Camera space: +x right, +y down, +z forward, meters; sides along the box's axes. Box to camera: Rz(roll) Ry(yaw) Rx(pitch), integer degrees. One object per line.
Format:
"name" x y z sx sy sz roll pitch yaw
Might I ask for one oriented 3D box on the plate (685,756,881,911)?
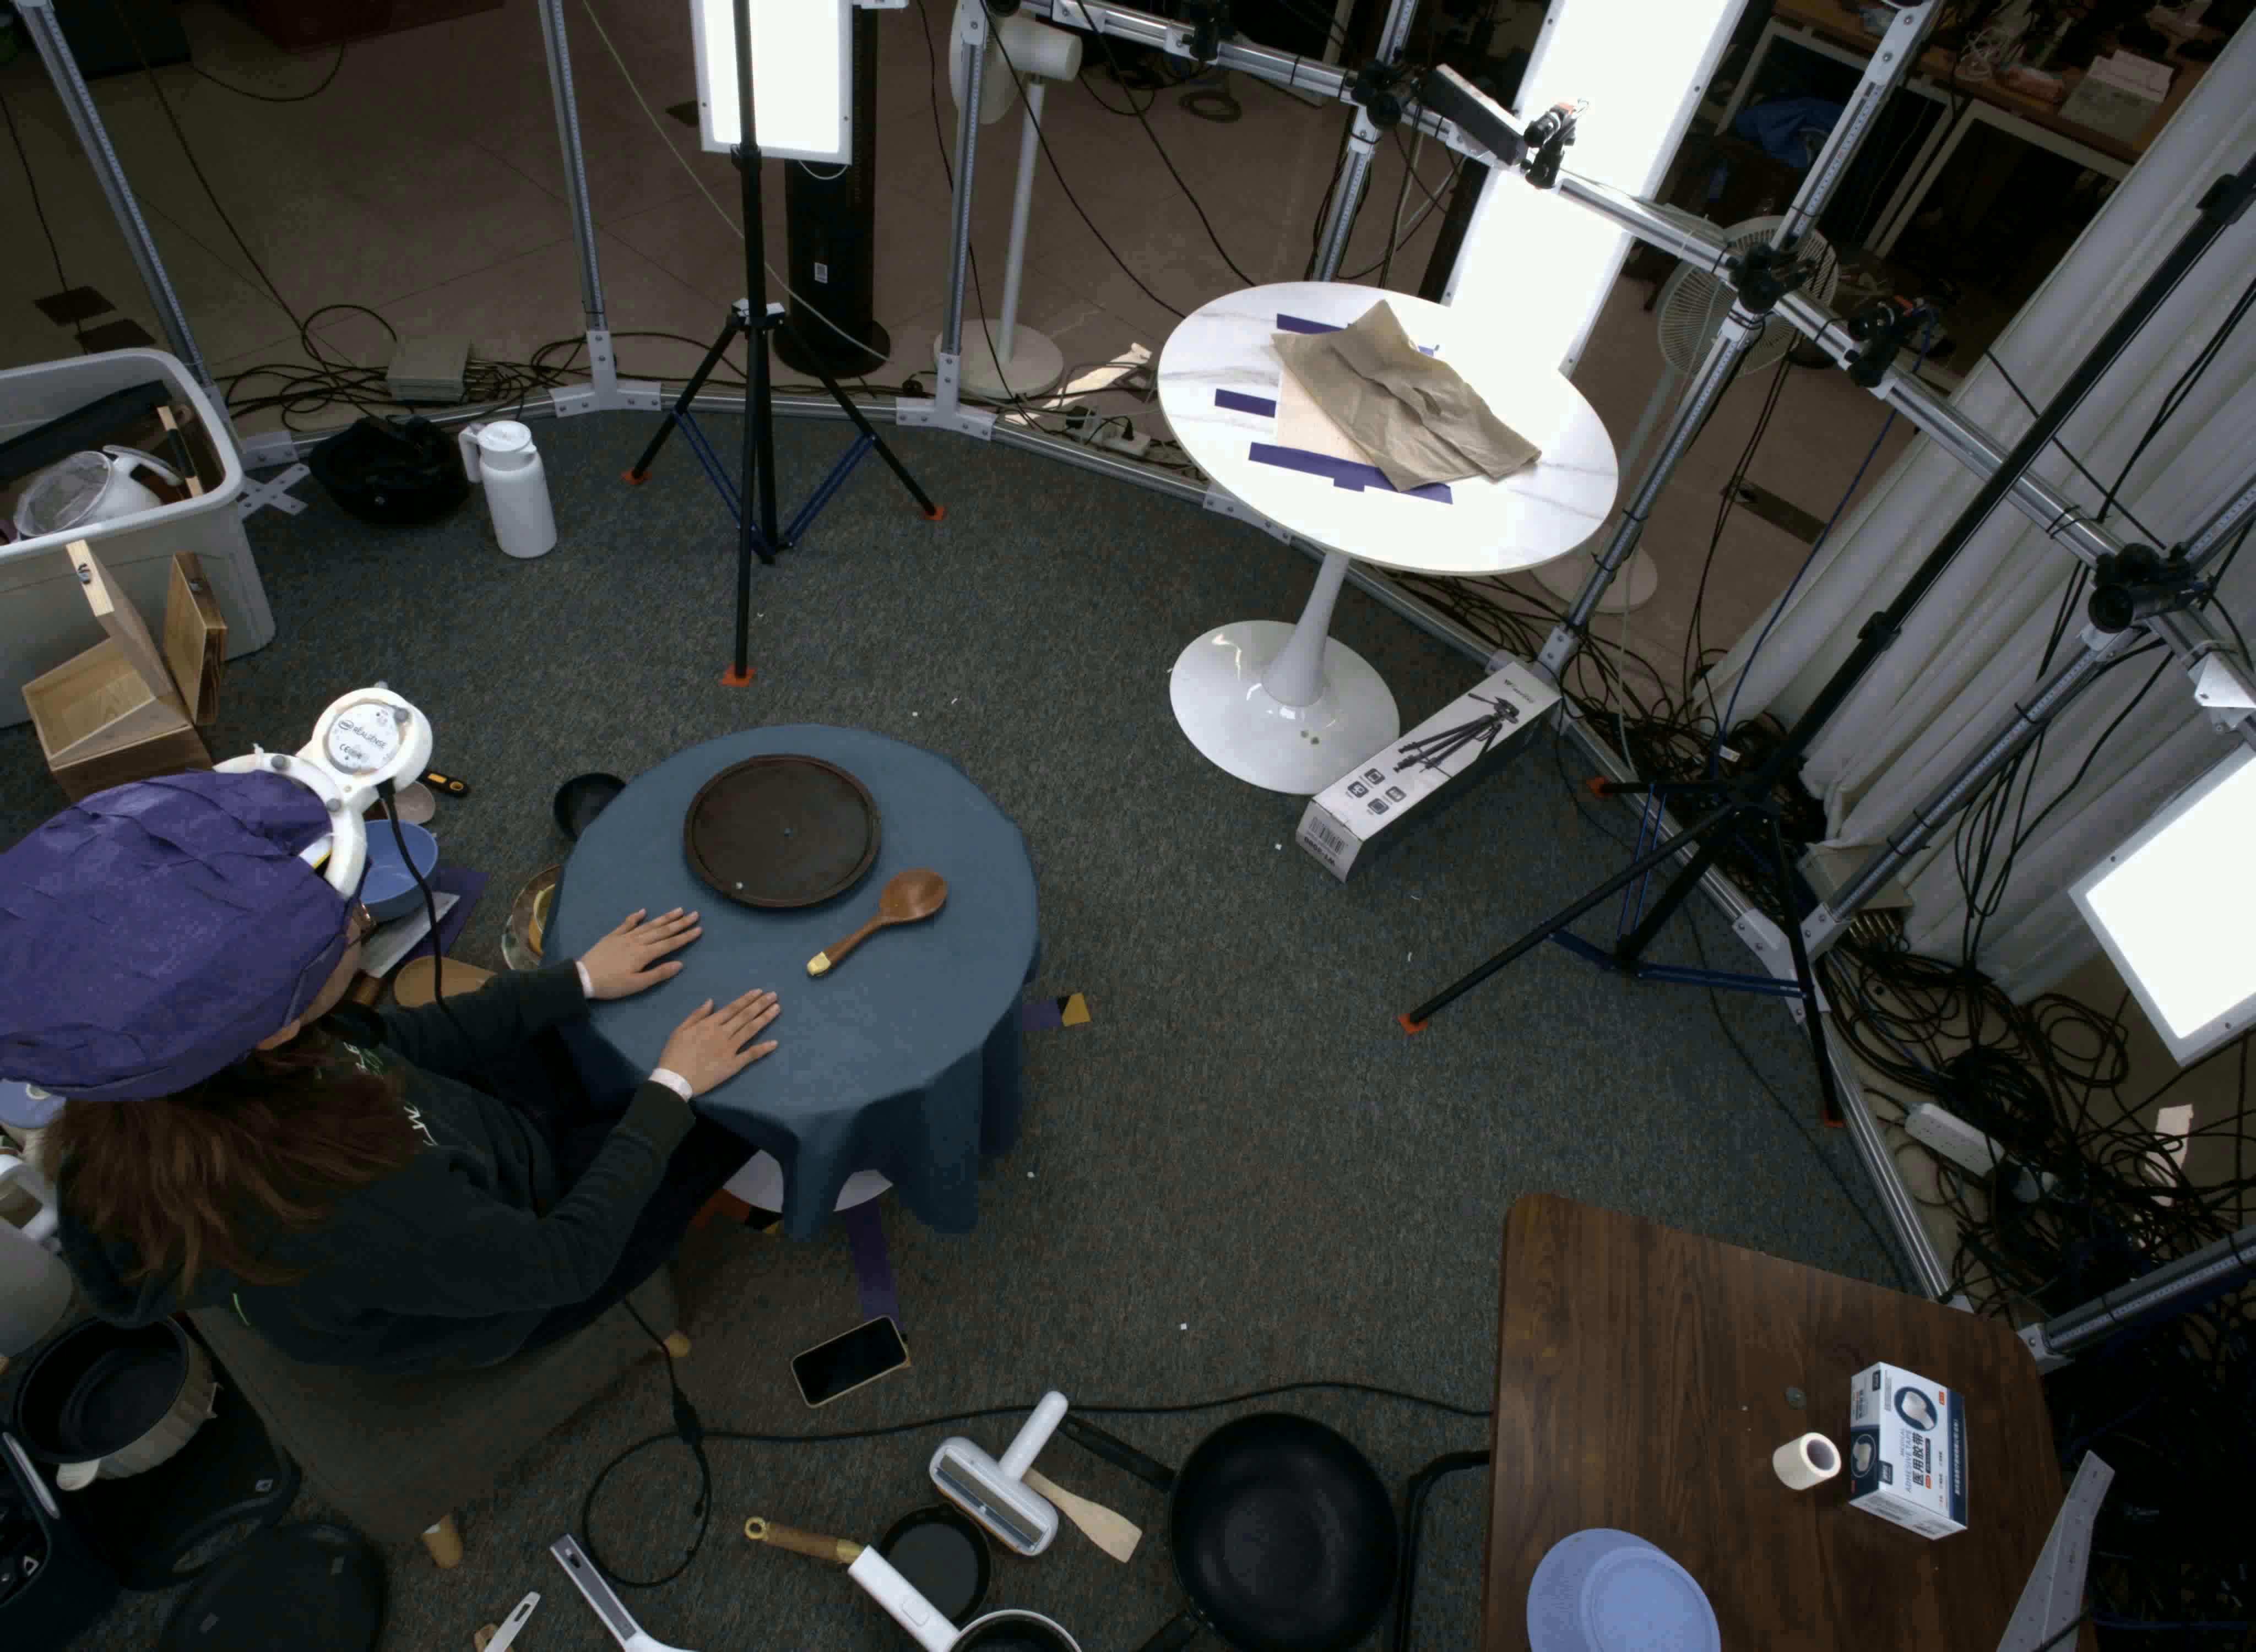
"plate" -0.452 0.006 1.704 0.254 0.029 0.250 8 51 -9

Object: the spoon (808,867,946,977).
"spoon" -0.320 0.121 1.654 0.074 0.017 0.216 40 54 16
